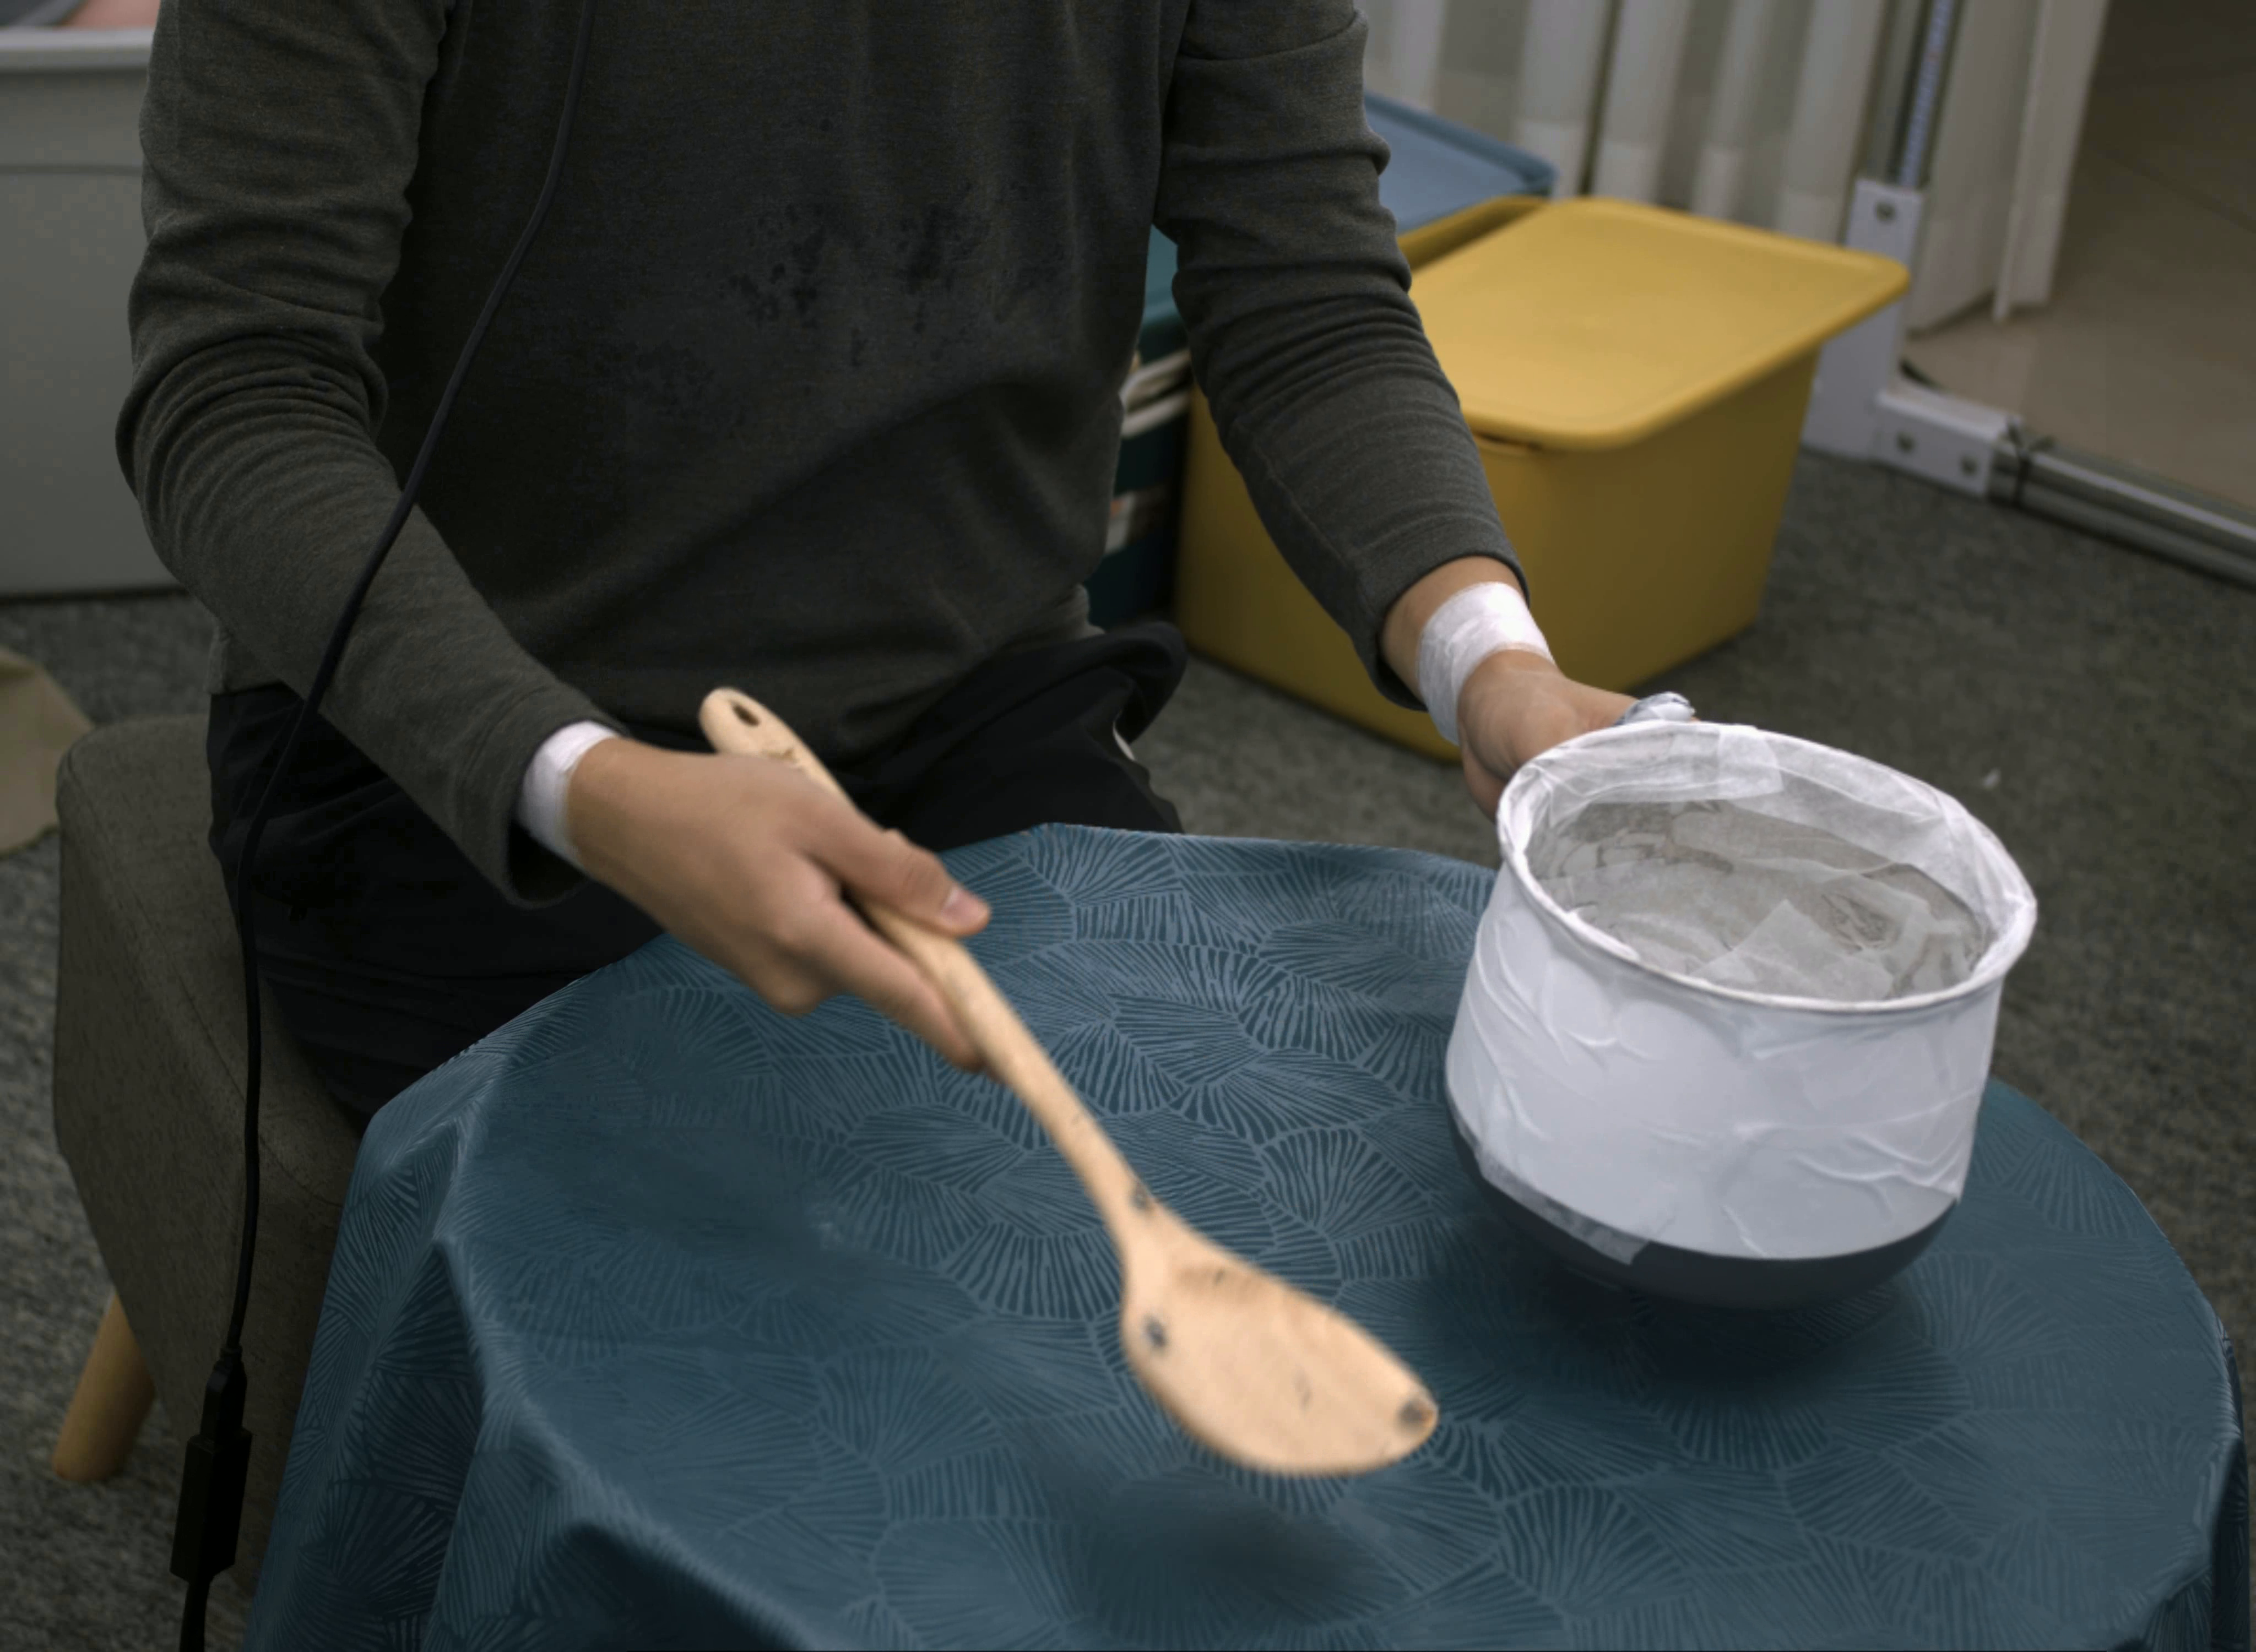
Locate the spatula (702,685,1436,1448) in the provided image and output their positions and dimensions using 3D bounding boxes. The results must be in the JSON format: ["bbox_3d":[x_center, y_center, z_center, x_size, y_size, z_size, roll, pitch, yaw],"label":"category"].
[{"bbox_3d":[-0.038,0.069,1.687,0.095,0.018,0.394,0,37,-41],"label":"spatula"}]

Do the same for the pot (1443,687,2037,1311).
[{"bbox_3d":[0.190,0.049,1.772,0.177,0.136,0.236,0,31,-16],"label":"pot"}]
